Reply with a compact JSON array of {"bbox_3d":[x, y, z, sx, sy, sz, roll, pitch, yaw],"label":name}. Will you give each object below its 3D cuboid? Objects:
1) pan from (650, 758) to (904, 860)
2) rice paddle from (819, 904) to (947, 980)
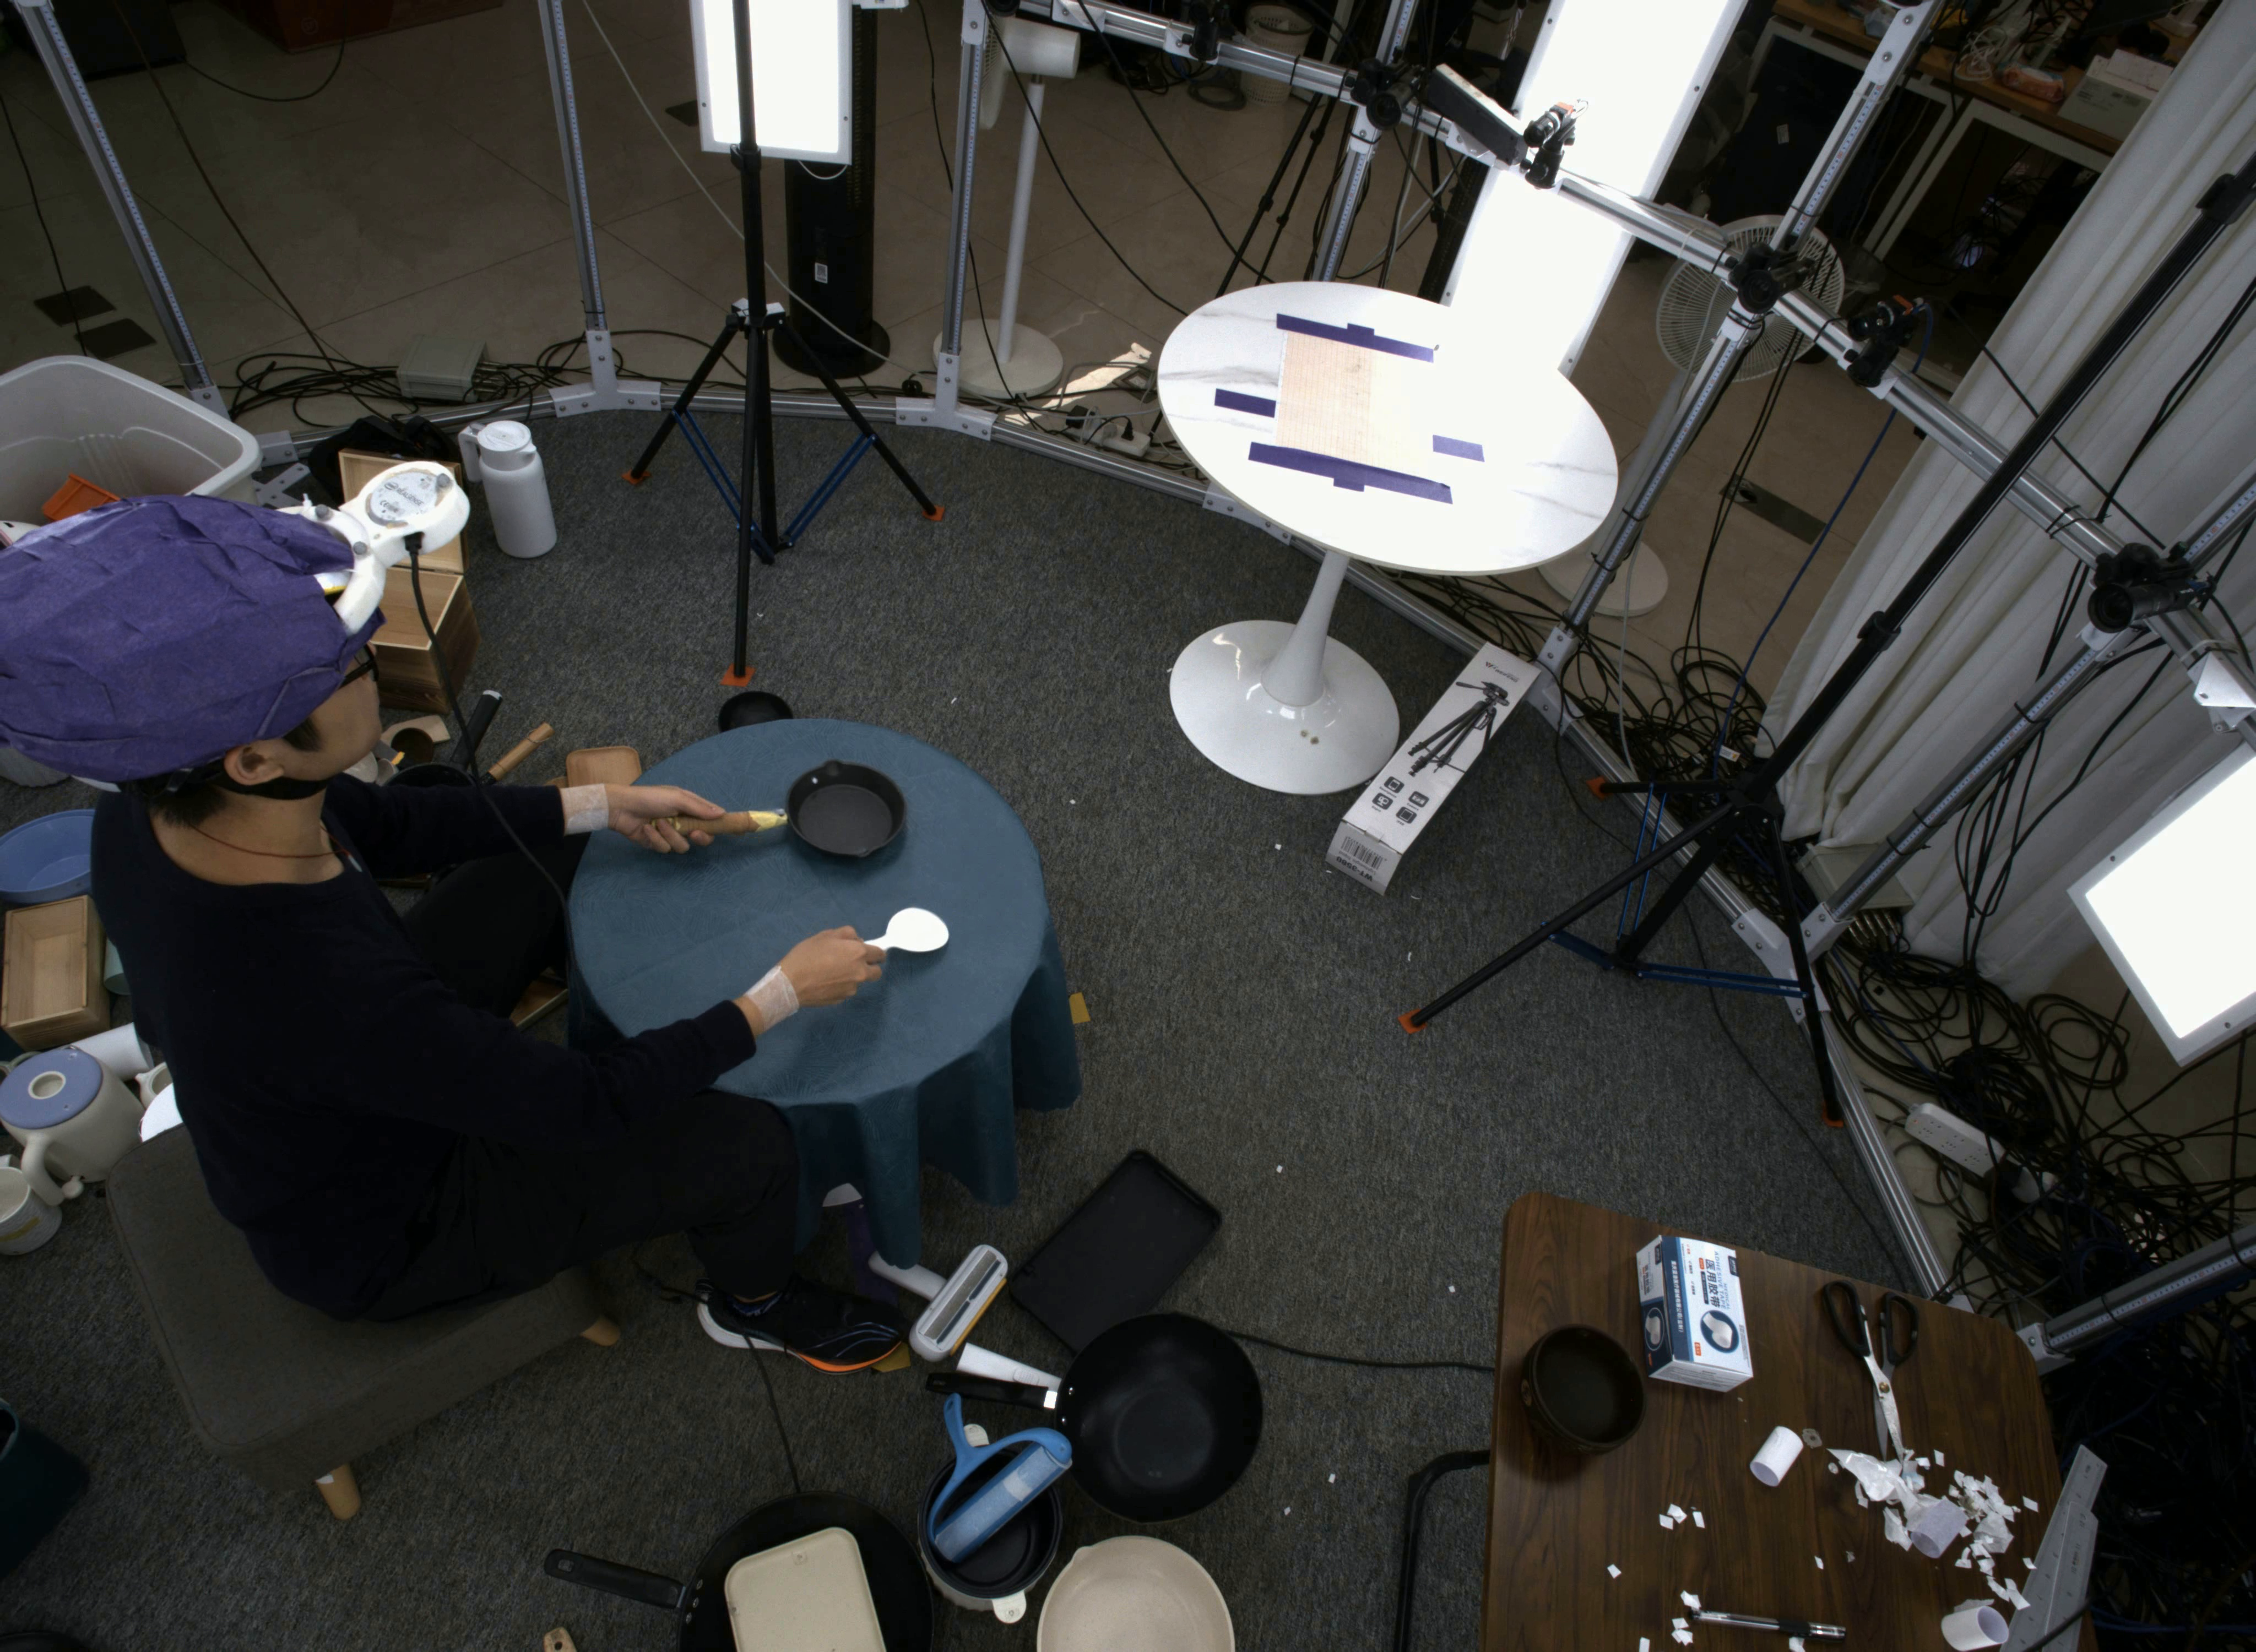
[{"bbox_3d":[-0.451,-0.011,1.674,0.327,0.050,0.165,-7,55,-25],"label":"pan"},{"bbox_3d":[-0.294,0.137,1.588,0.068,0.029,0.207,47,33,13],"label":"rice paddle"}]
